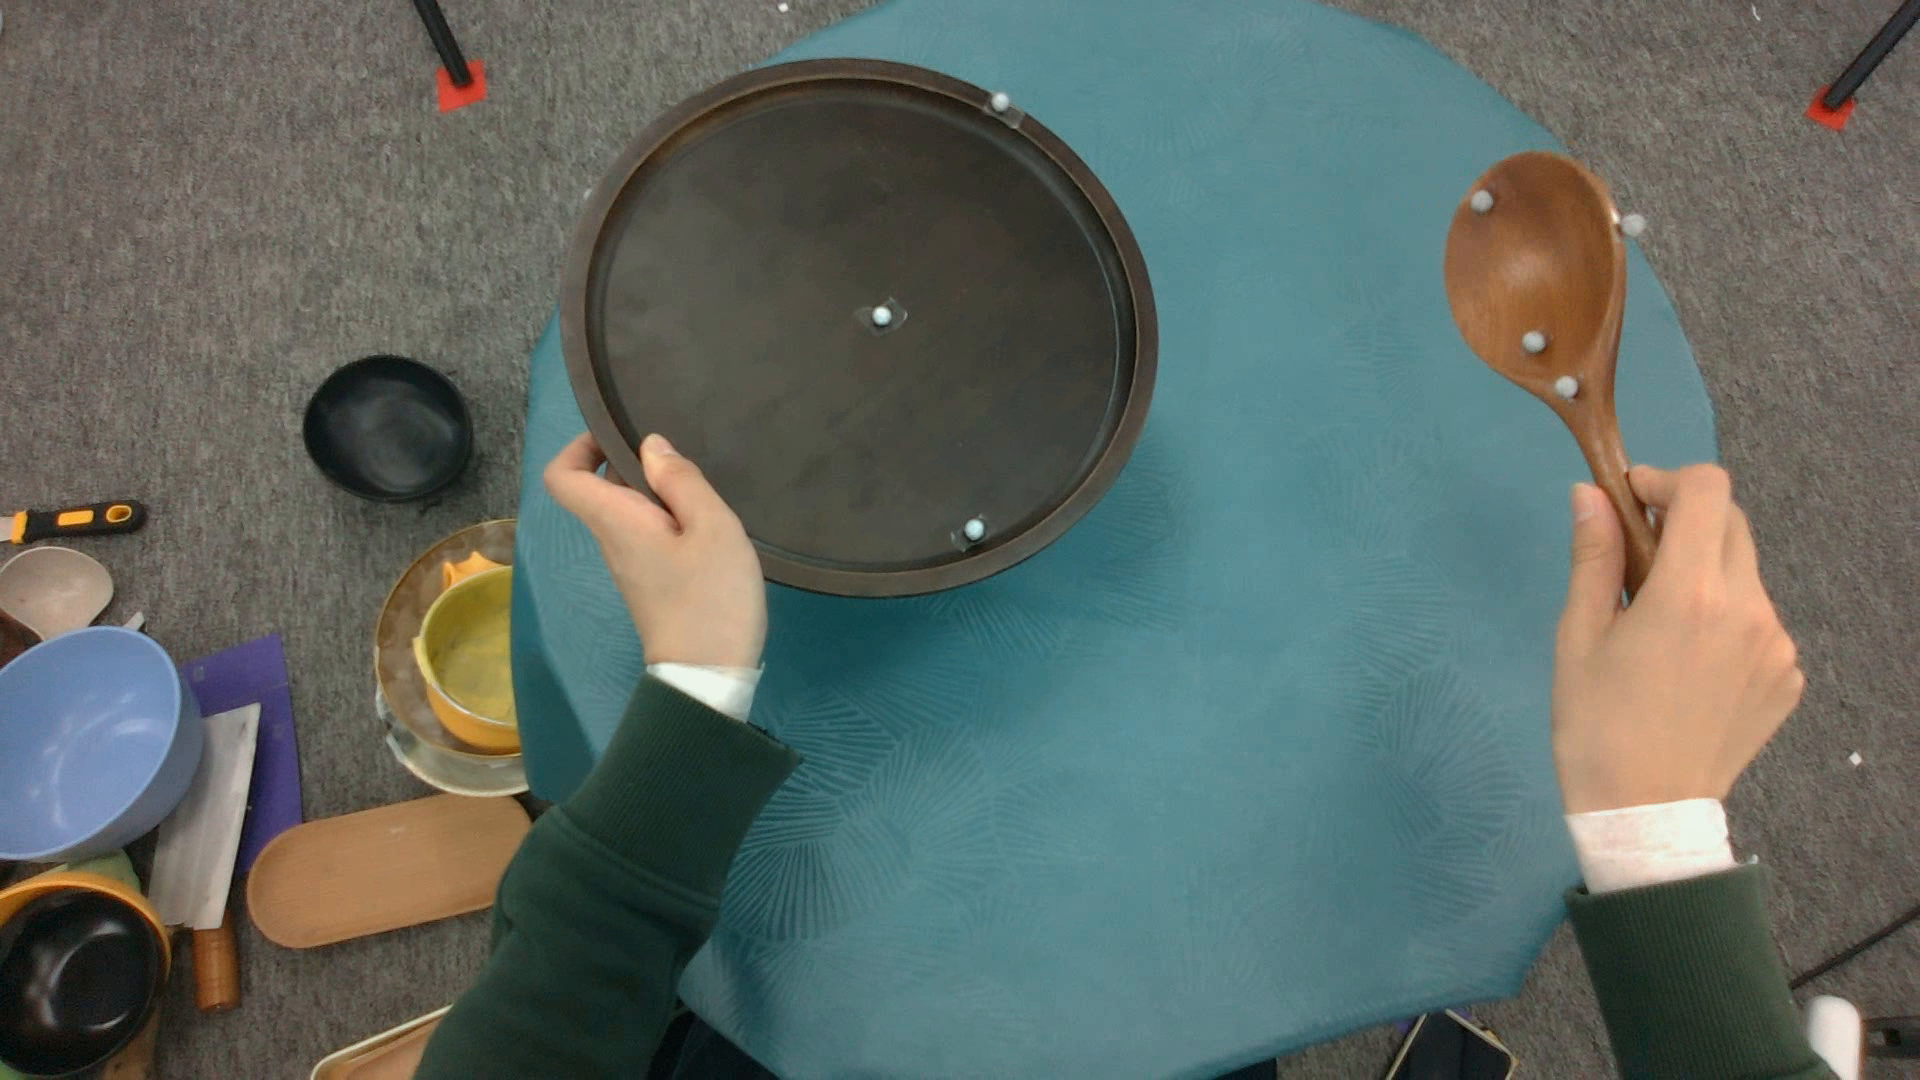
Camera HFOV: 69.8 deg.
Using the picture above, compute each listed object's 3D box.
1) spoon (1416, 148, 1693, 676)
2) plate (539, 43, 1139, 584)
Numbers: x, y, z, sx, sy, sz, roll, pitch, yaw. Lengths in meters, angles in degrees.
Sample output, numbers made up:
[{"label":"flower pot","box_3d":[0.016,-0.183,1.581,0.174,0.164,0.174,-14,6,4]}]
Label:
[{"label":"spoon","box_3d":[0.227,-0.052,0.519,0.017,0.075,0.216,4,64,-33]},{"label":"plate","box_3d":[-0.048,-0.101,0.589,0.255,0.029,0.255,3,70,-9]}]
